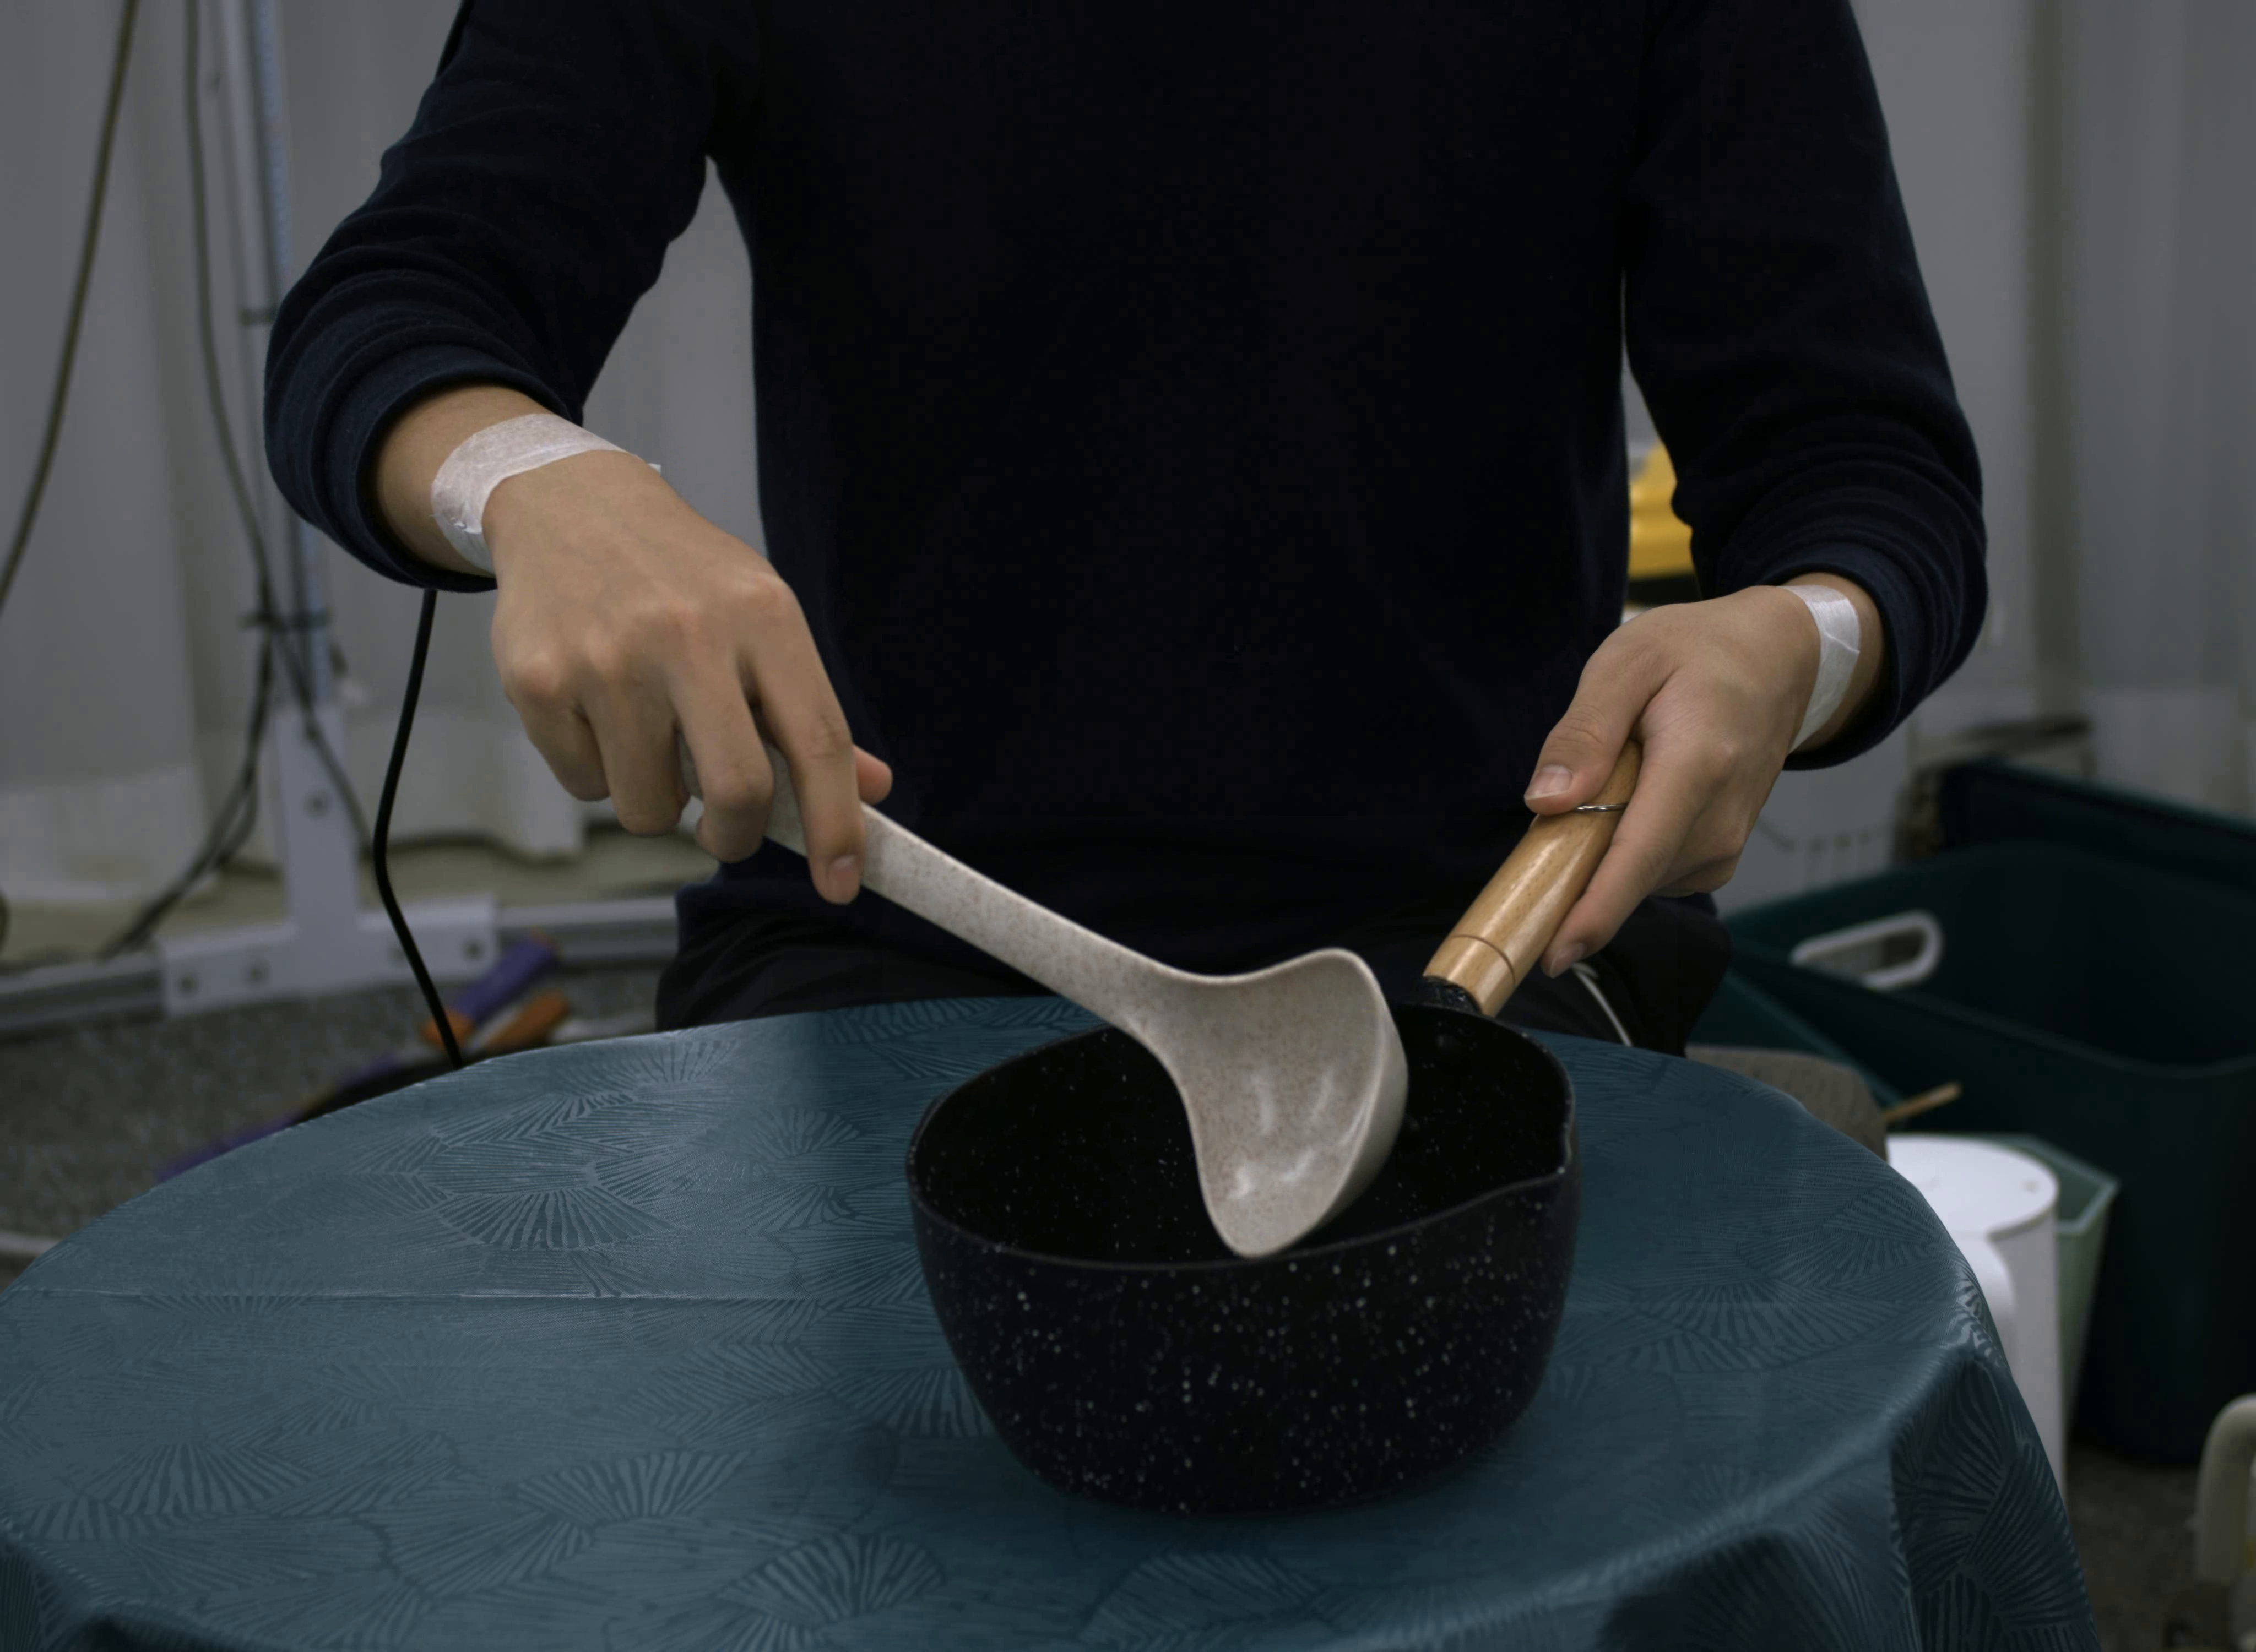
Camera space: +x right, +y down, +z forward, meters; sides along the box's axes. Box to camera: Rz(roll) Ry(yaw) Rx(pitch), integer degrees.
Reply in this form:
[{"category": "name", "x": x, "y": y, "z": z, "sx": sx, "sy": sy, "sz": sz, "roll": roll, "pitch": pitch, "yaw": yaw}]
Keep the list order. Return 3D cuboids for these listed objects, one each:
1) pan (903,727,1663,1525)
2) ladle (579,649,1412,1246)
[{"category": "pan", "x": 0.073, "y": 0.081, "z": 1.562, "sx": 0.208, "sy": 0.107, "sz": 0.344, "roll": 3, "pitch": 23, "yaw": 31}, {"category": "ladle", "x": -0.046, "y": 0.026, "z": 1.513, "sx": 0.275, "sy": 0.089, "sz": 0.069, "roll": 29, "pitch": 20, "yaw": 10}]
